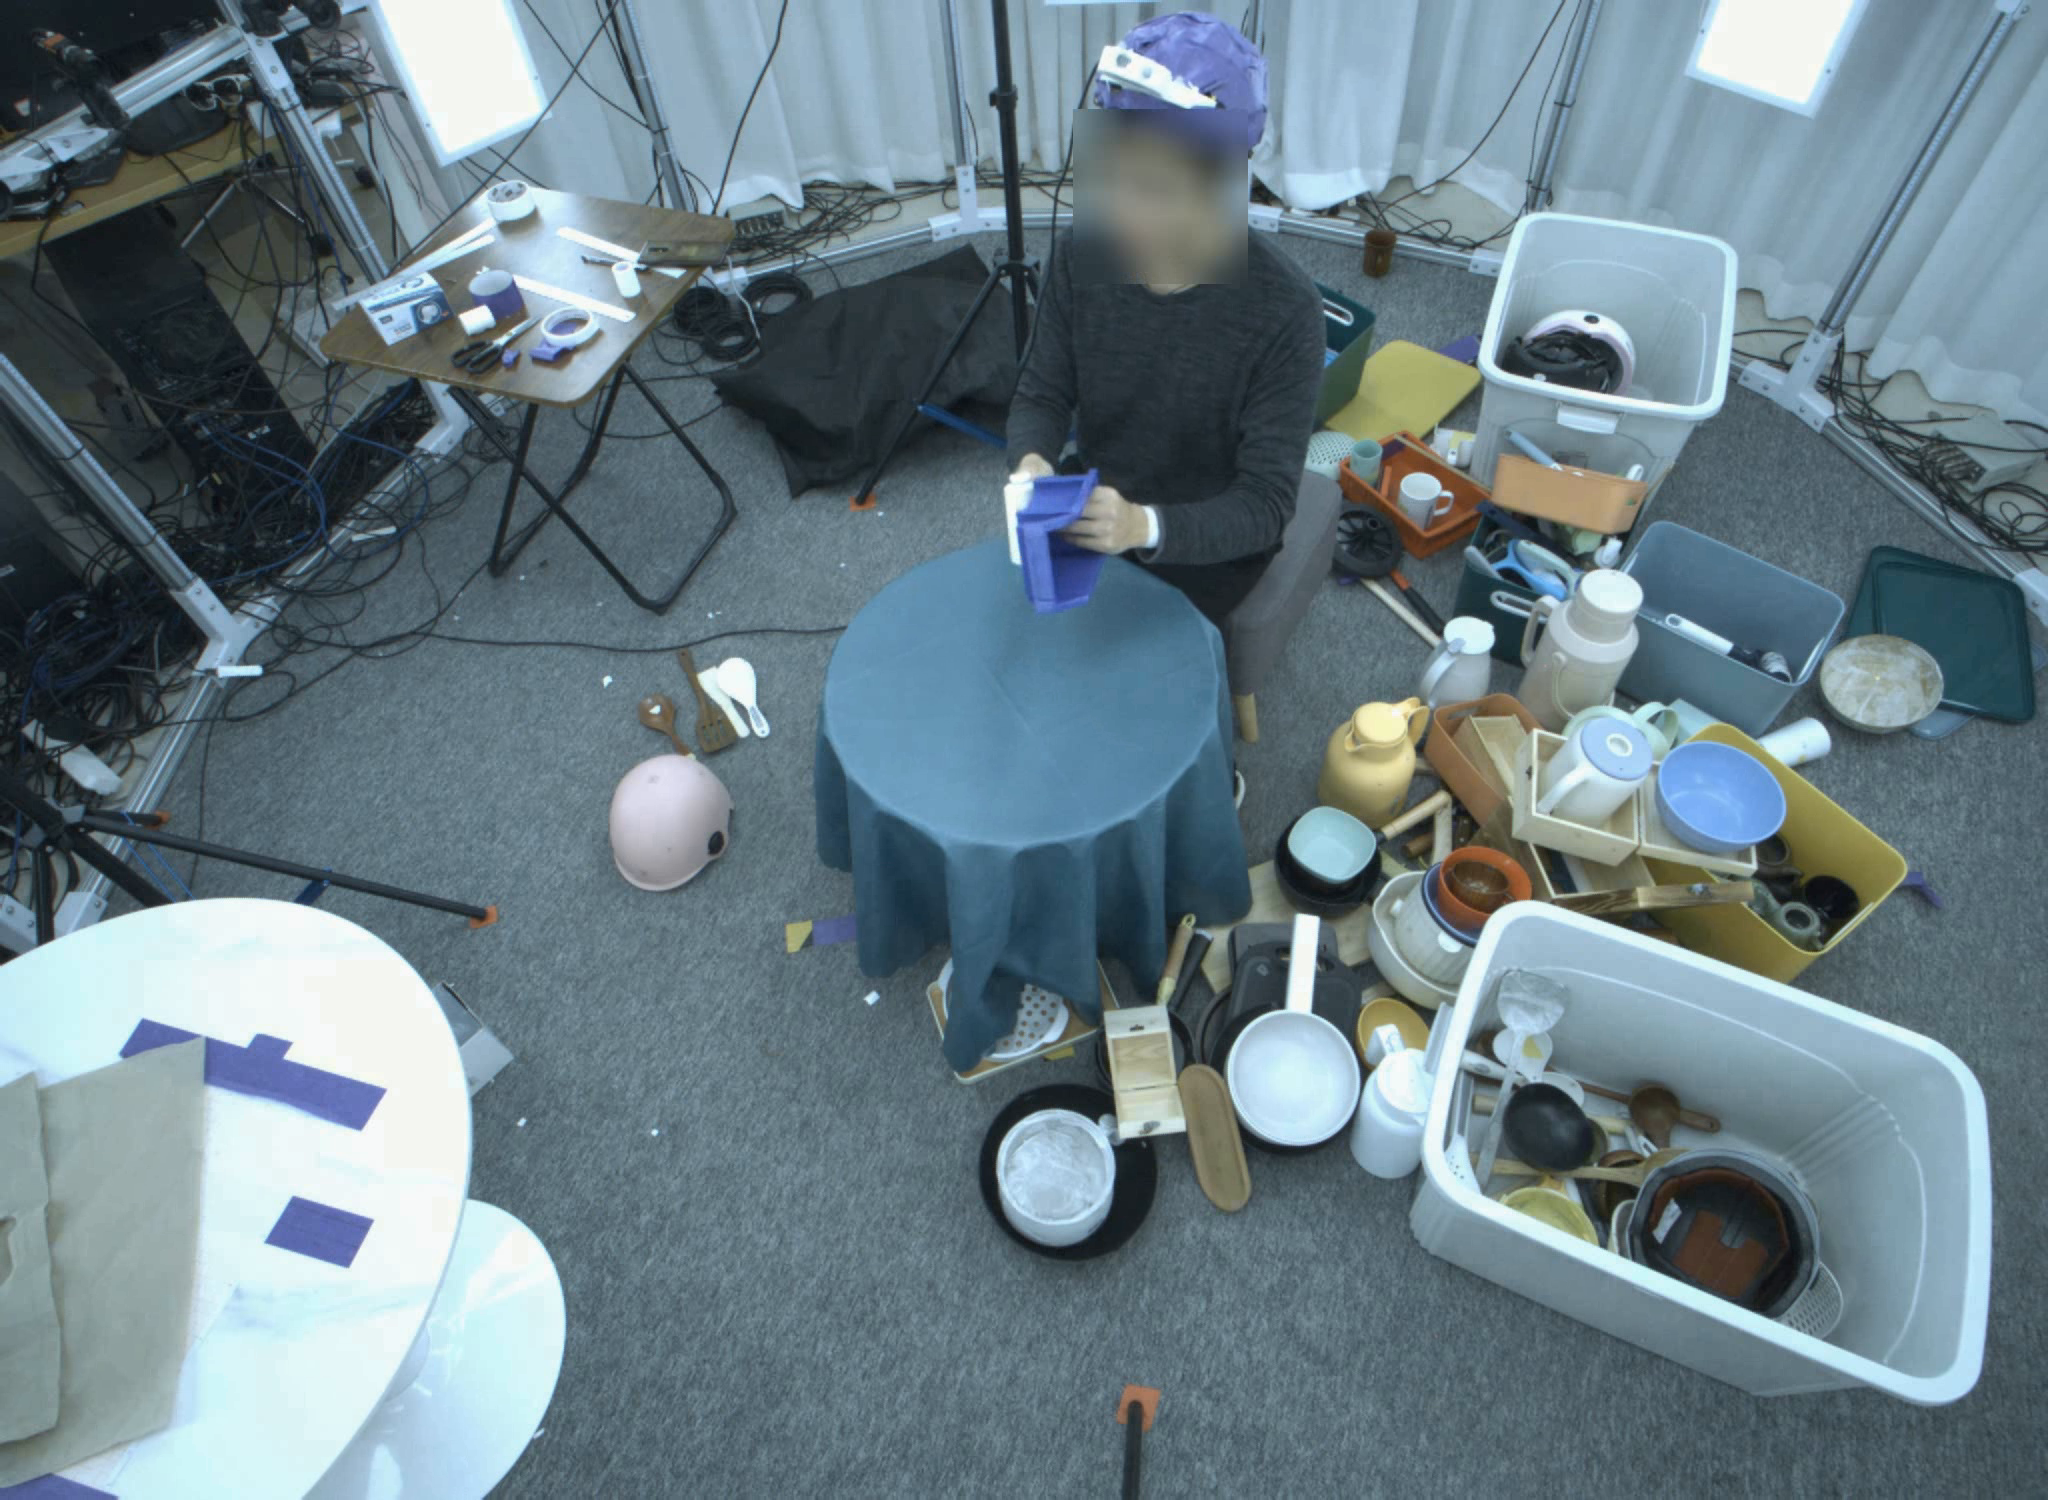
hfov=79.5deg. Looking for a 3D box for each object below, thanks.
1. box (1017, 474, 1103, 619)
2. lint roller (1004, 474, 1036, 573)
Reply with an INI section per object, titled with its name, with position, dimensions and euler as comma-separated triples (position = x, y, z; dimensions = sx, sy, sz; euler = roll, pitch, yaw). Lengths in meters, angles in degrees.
[box]
position = 0.045, -0.257, 1.544
dimensions = 0.081, 0.126, 0.178
euler = -1, 33, 11
[lint roller]
position = 0.001, -0.328, 1.684
dimensions = 0.050, 0.134, 0.179
euler = -7, 26, 2
